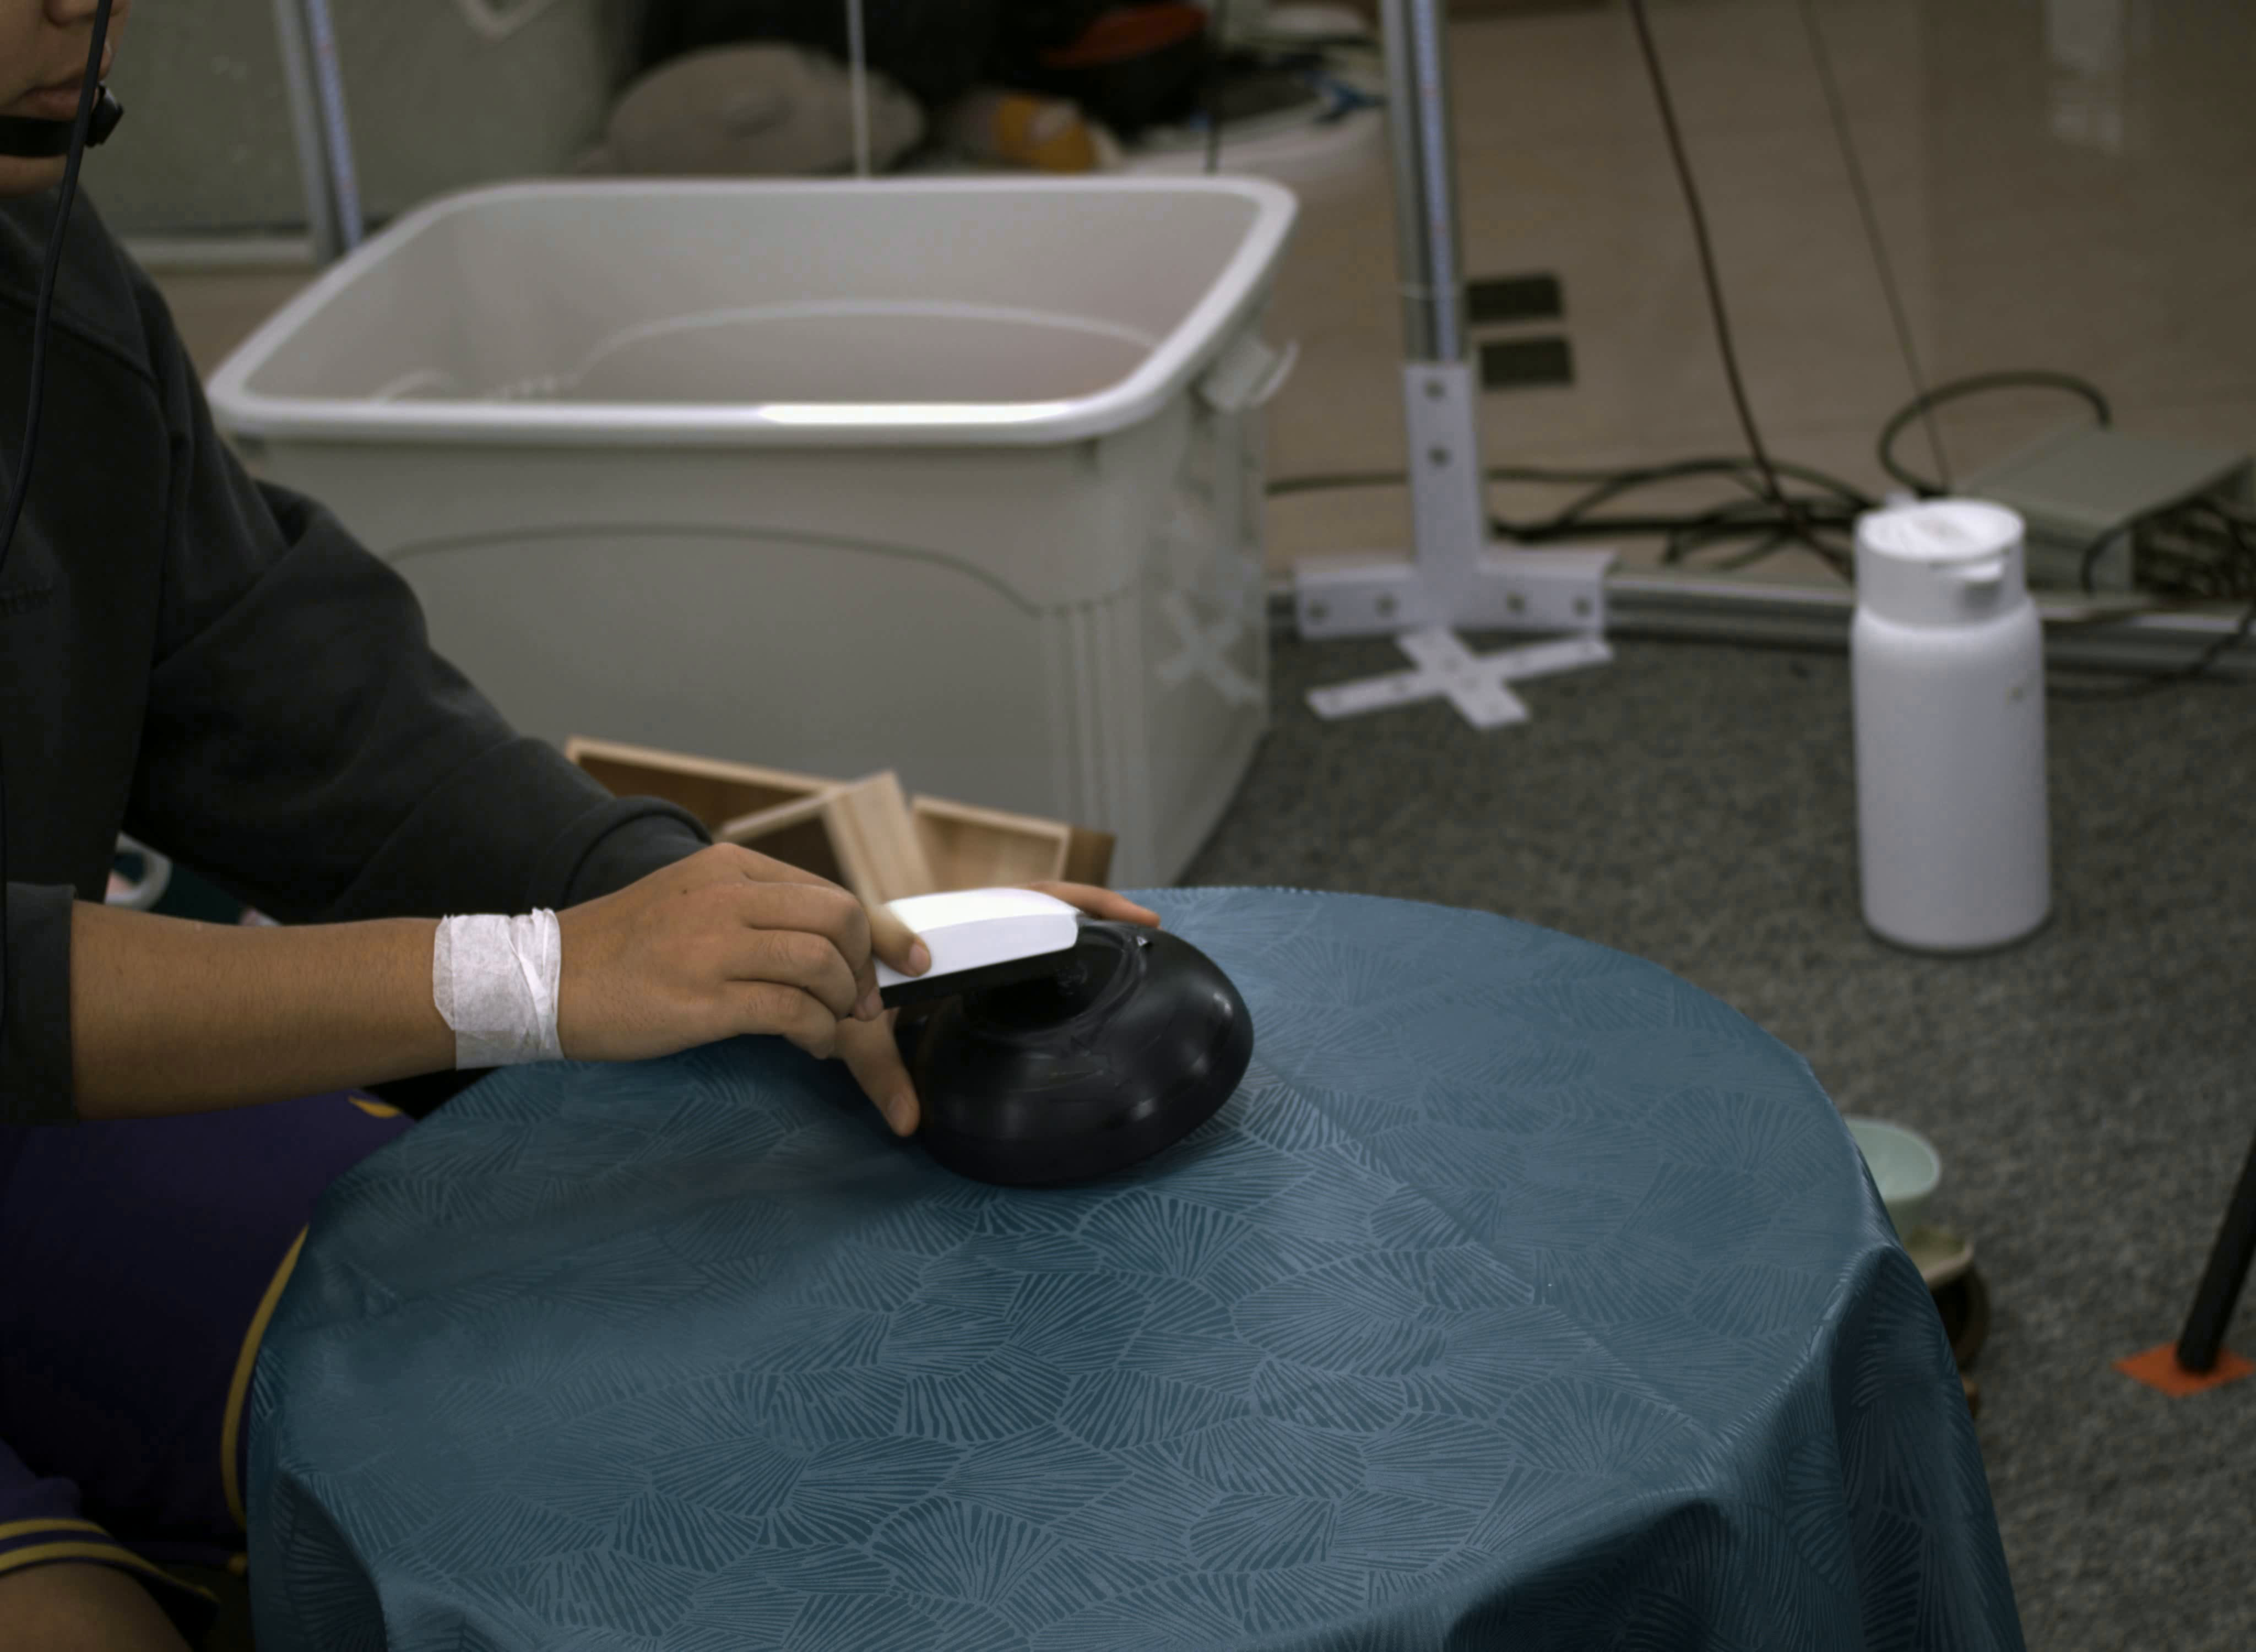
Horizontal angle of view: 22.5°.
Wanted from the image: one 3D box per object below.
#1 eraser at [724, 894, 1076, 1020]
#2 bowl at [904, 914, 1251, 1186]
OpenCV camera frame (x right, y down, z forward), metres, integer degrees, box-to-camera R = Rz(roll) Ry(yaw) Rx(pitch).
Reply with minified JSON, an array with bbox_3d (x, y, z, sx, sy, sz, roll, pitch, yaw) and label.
[{"bbox_3d":[-0.087,0.046,2.159,0.131,0.035,0.063,-8,11,-20],"label":"eraser"},{"bbox_3d":[-0.025,0.076,2.192,0.140,0.050,0.137,-12,35,9],"label":"bowl"}]
